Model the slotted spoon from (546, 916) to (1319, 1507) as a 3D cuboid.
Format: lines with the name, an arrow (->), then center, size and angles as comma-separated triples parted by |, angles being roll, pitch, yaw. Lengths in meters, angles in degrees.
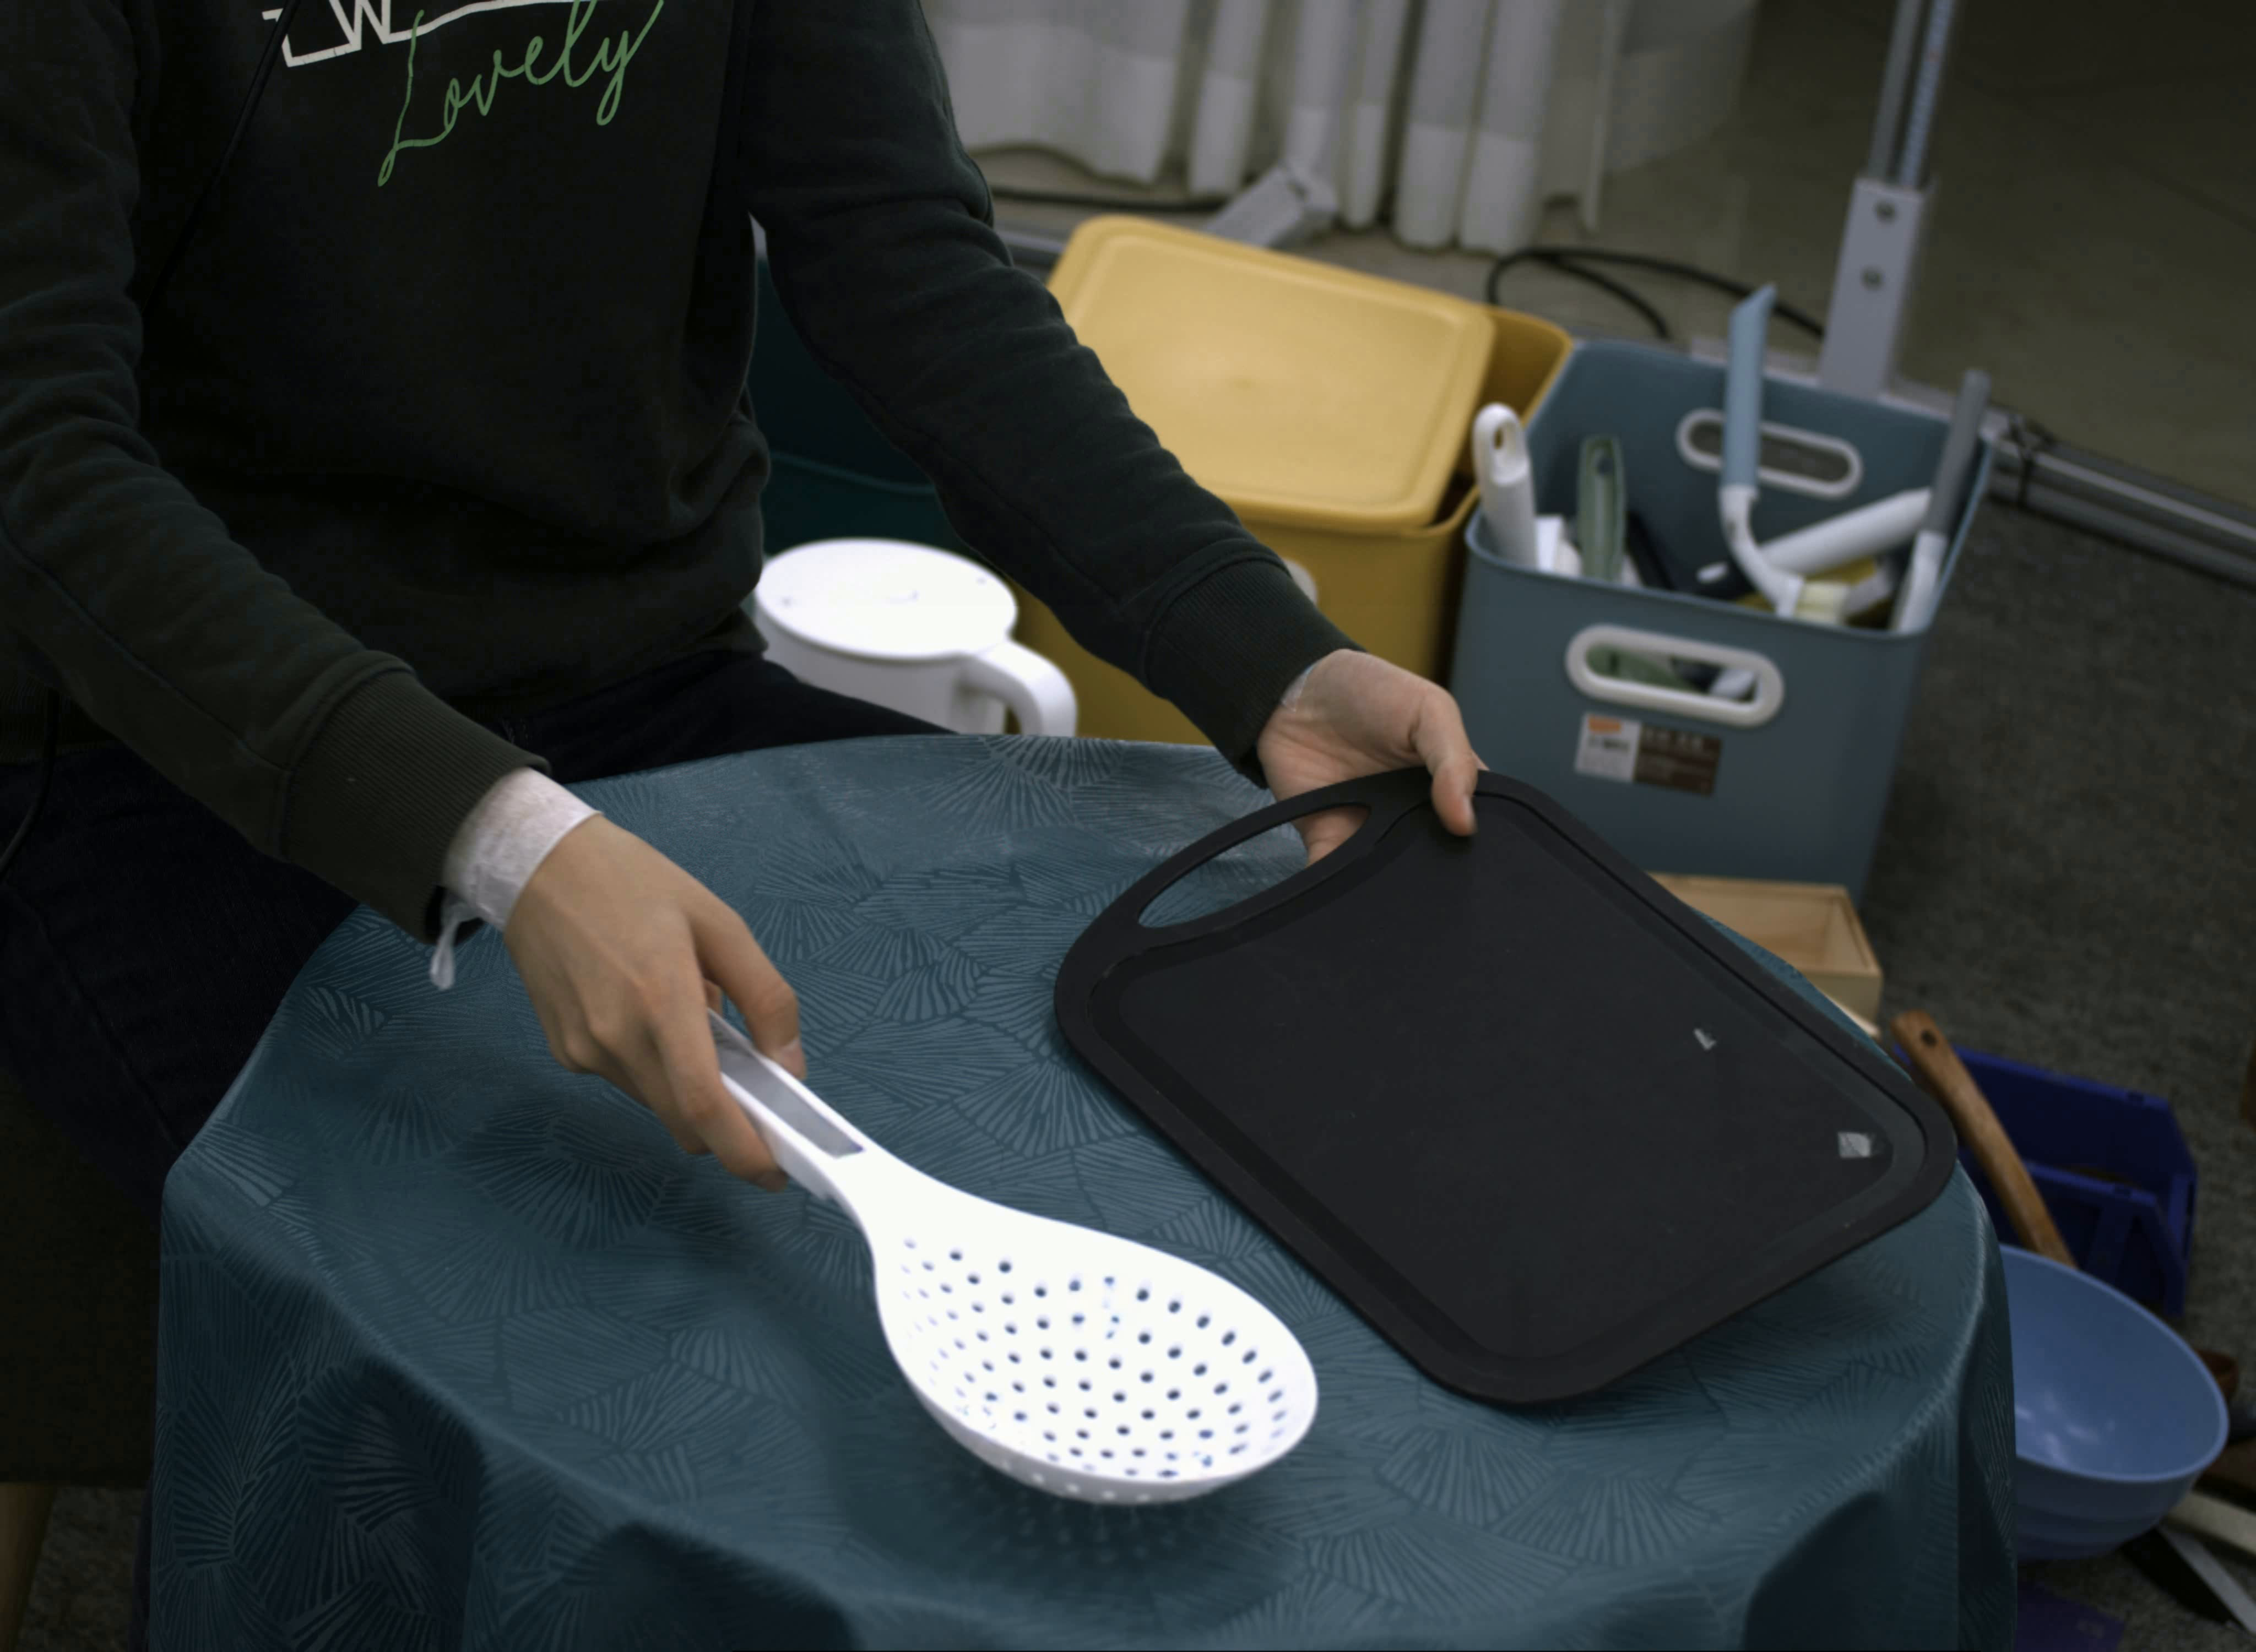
slotted spoon -> -0.078, 0.118, 1.700 | 0.135, 0.045, 0.353 | -10, 39, -41

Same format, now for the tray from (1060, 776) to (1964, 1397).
tray -> 0.121, 0.078, 1.838 | 0.210, 0.010, 0.328 | -26, 39, -21
